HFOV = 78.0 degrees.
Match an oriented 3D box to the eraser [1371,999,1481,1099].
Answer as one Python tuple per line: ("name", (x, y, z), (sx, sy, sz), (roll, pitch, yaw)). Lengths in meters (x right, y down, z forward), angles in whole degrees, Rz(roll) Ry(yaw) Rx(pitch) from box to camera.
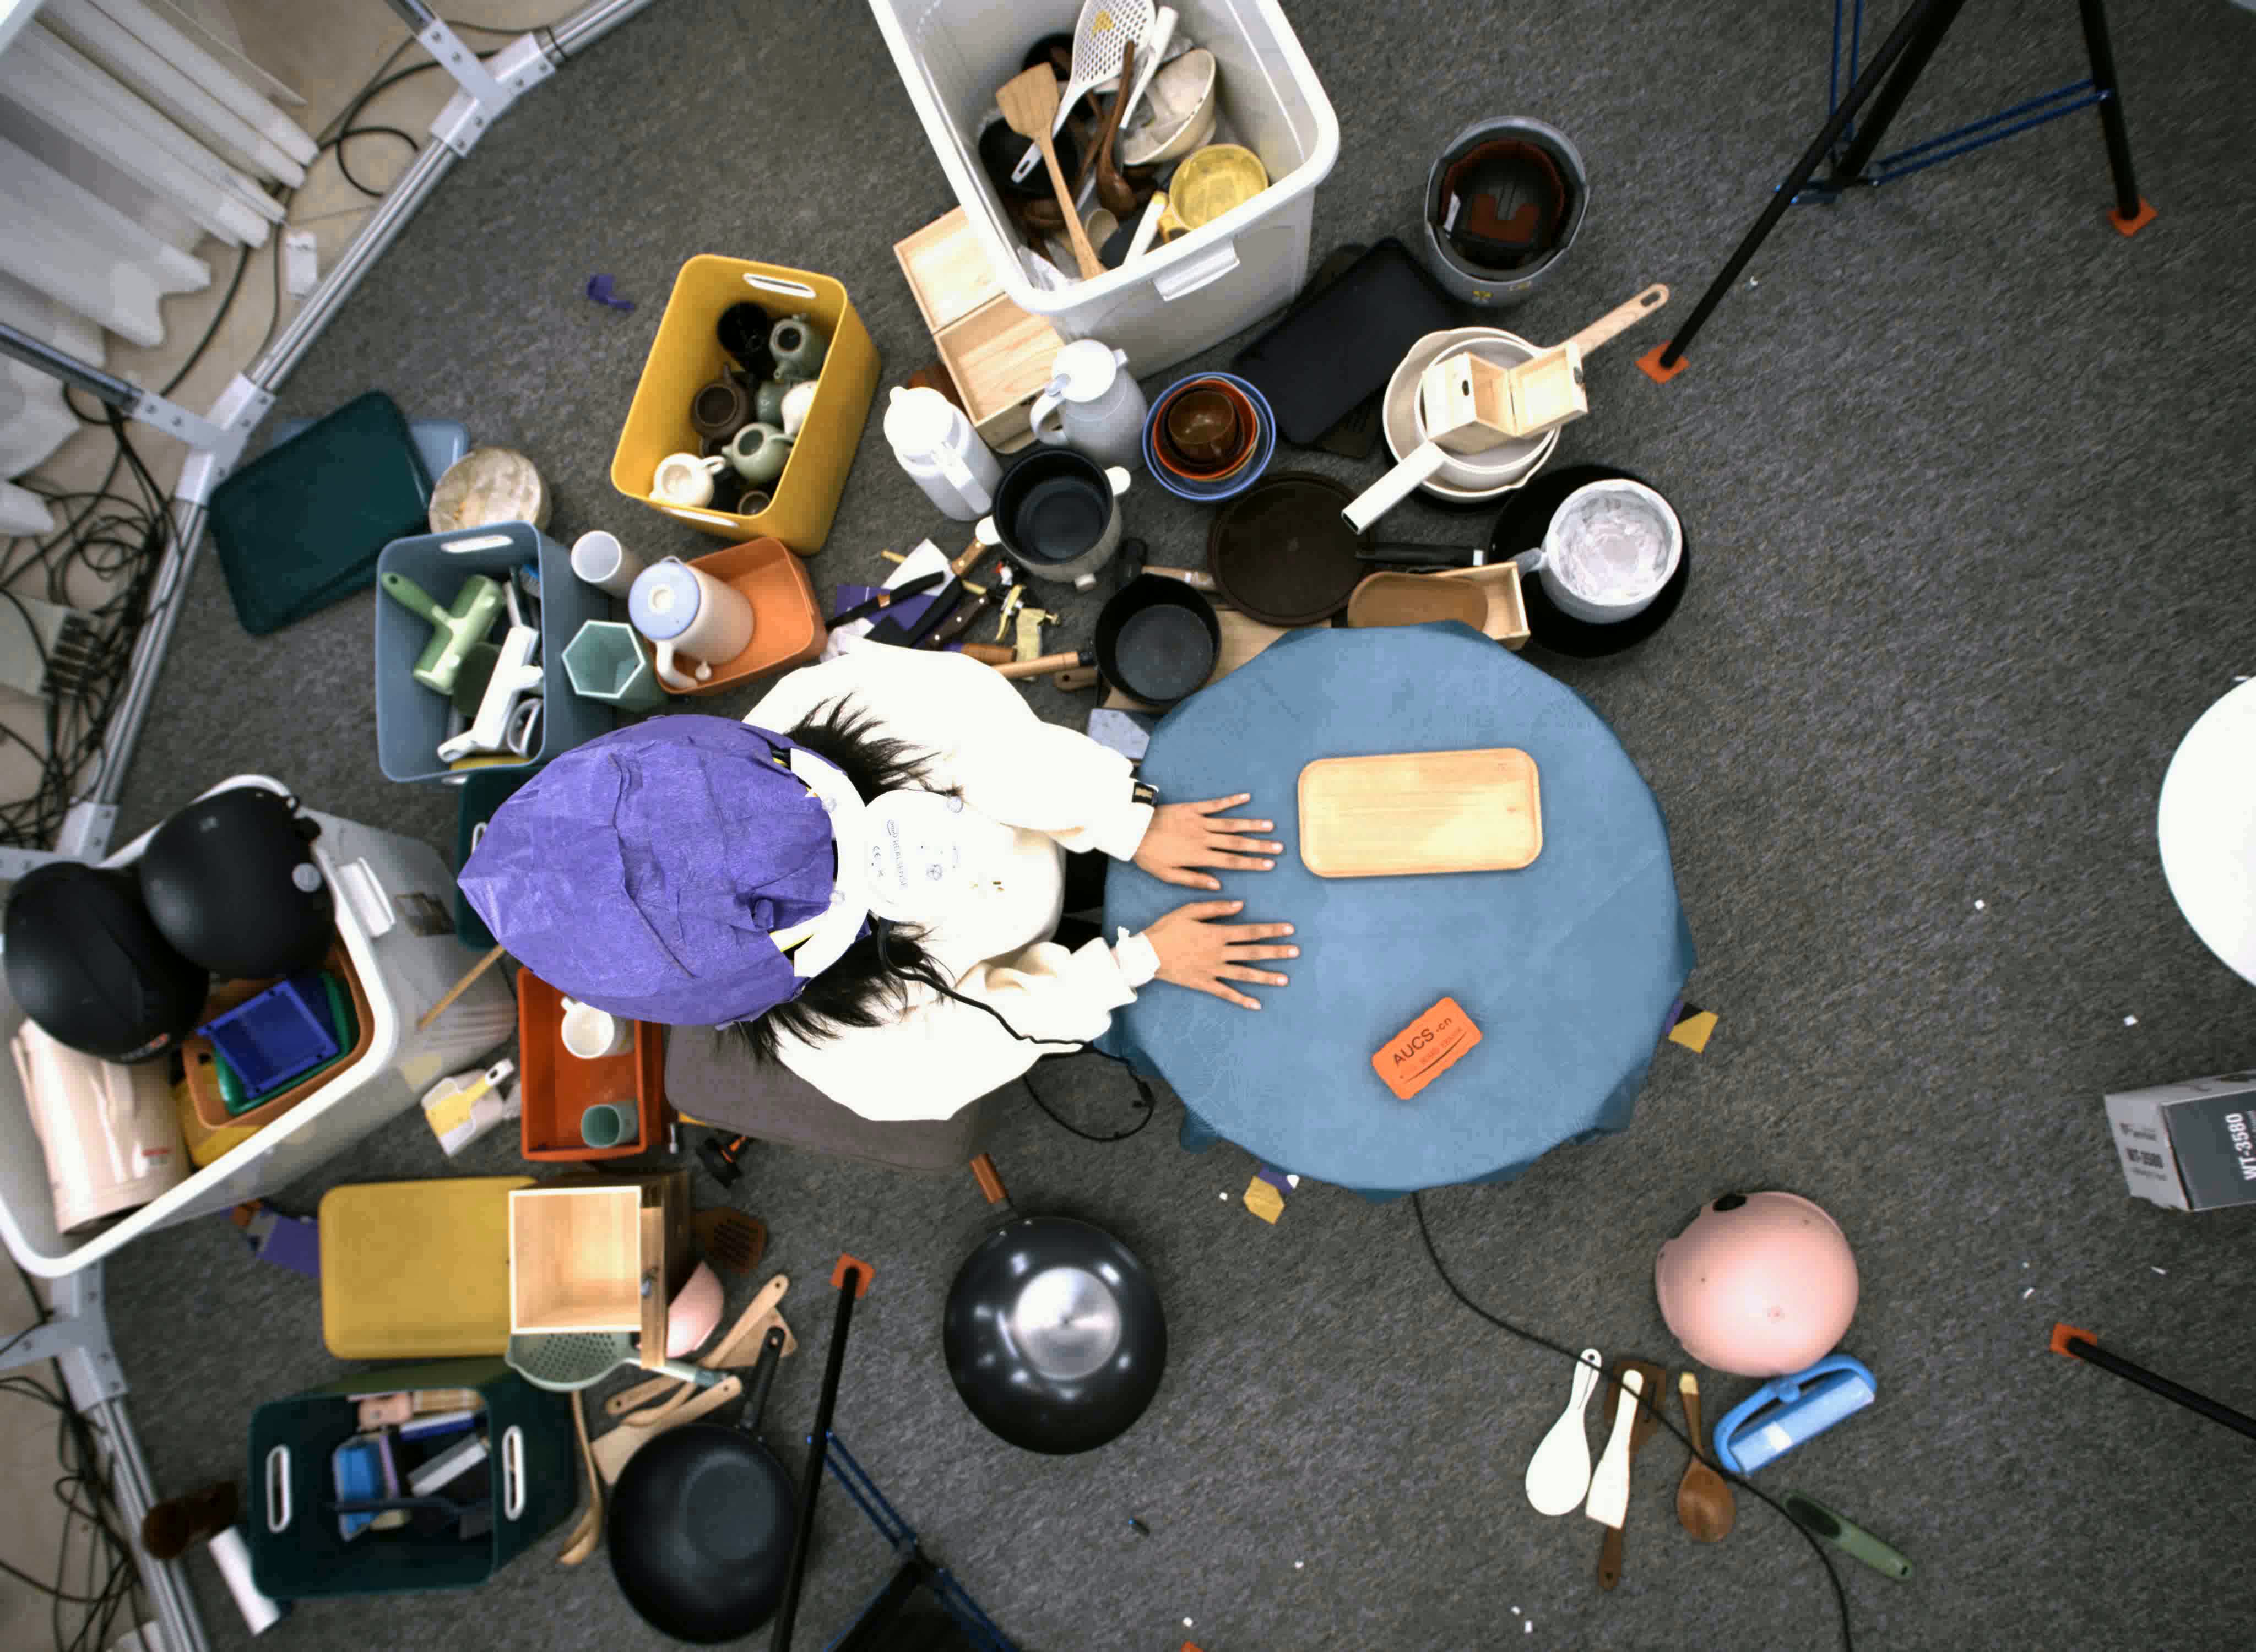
("eraser", (0.309, 0.229, 1.433), (0.108, 0.023, 0.058), (-40, 82, 6))

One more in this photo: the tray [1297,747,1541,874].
("tray", (0.304, -0.016, 1.449), (0.252, 0.023, 0.129), (-2, 84, 11))
